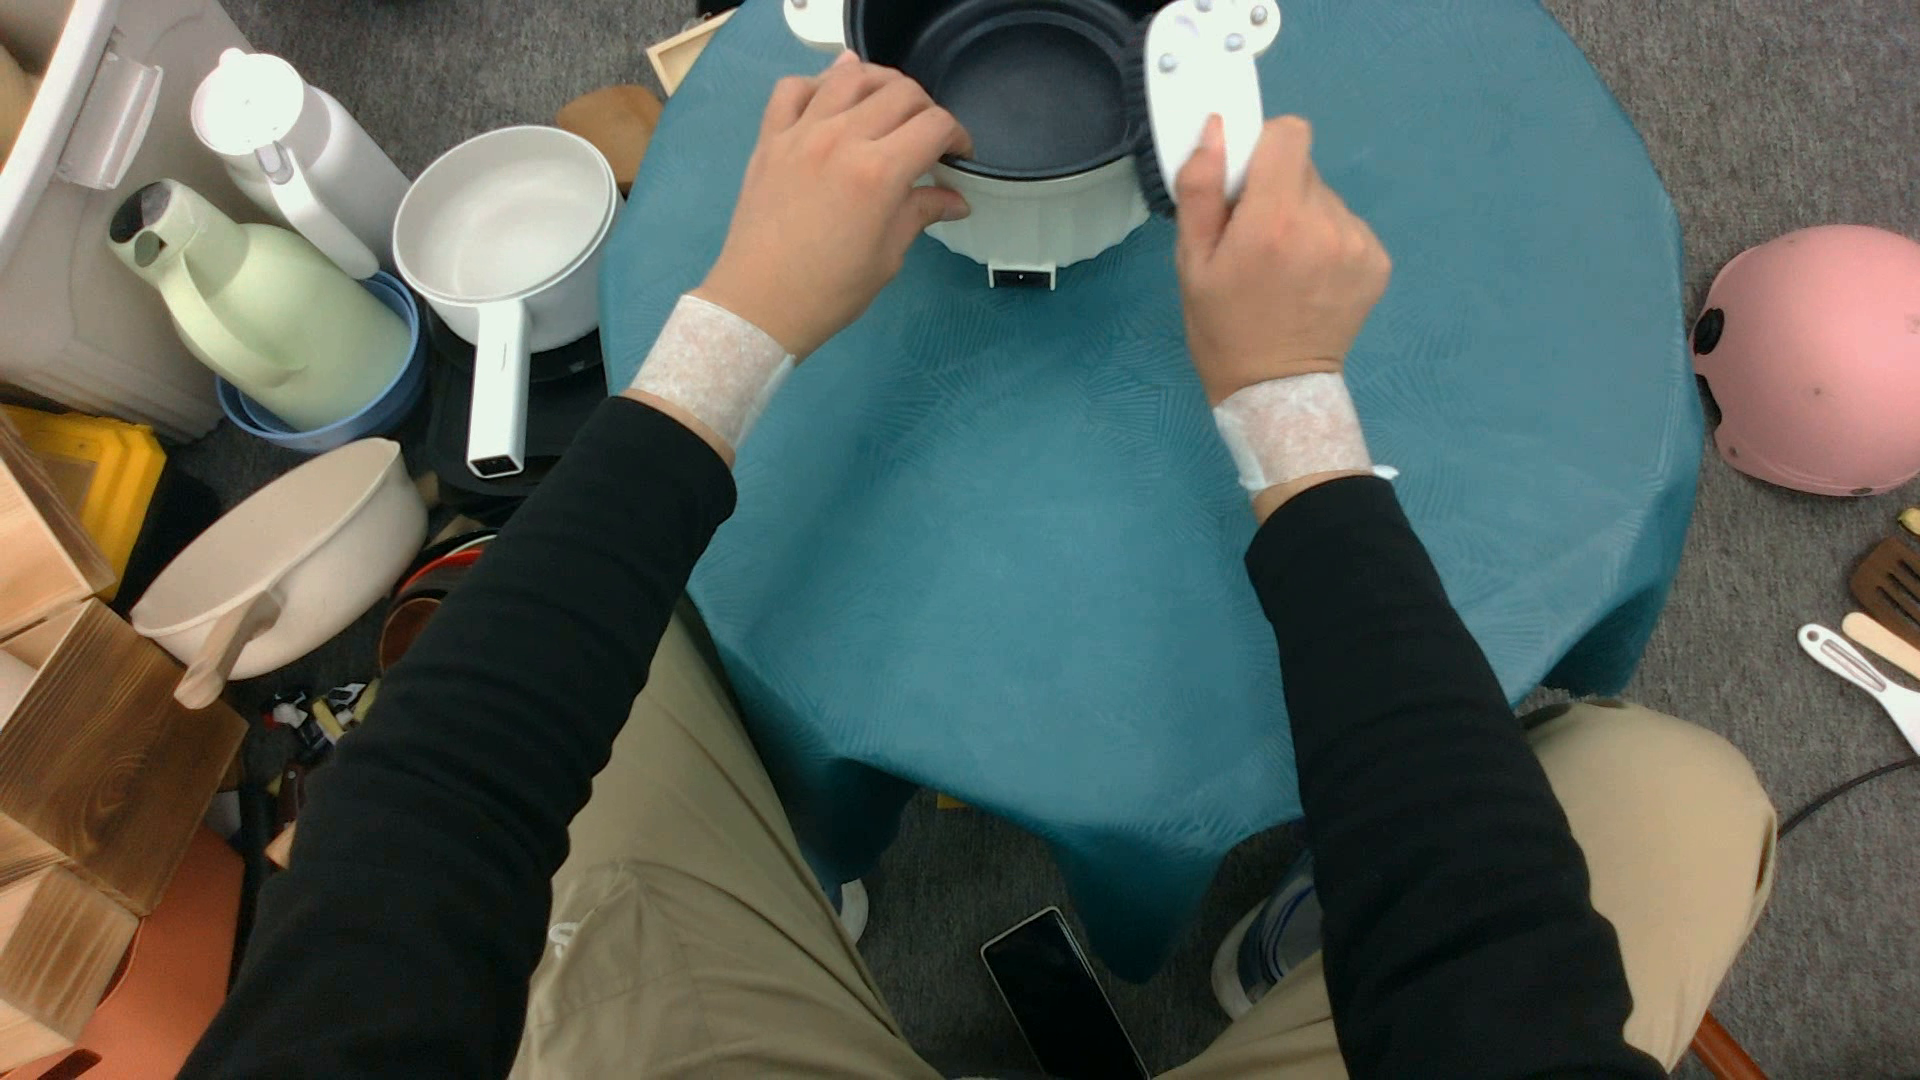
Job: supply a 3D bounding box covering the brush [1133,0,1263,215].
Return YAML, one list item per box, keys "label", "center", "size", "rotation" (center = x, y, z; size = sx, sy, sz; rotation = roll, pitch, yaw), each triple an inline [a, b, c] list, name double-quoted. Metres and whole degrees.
- label: "brush"
  center: [0.114, -0.198, 0.620]
  size: [0.050, 0.072, 0.099]
  rotation: [-5, 101, -12]

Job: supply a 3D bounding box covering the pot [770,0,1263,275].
- label: "pot"
  center: [0.028, -0.252, 0.732]
  size: [0.240, 0.142, 0.191]
  rotation: [3, 79, 2]
